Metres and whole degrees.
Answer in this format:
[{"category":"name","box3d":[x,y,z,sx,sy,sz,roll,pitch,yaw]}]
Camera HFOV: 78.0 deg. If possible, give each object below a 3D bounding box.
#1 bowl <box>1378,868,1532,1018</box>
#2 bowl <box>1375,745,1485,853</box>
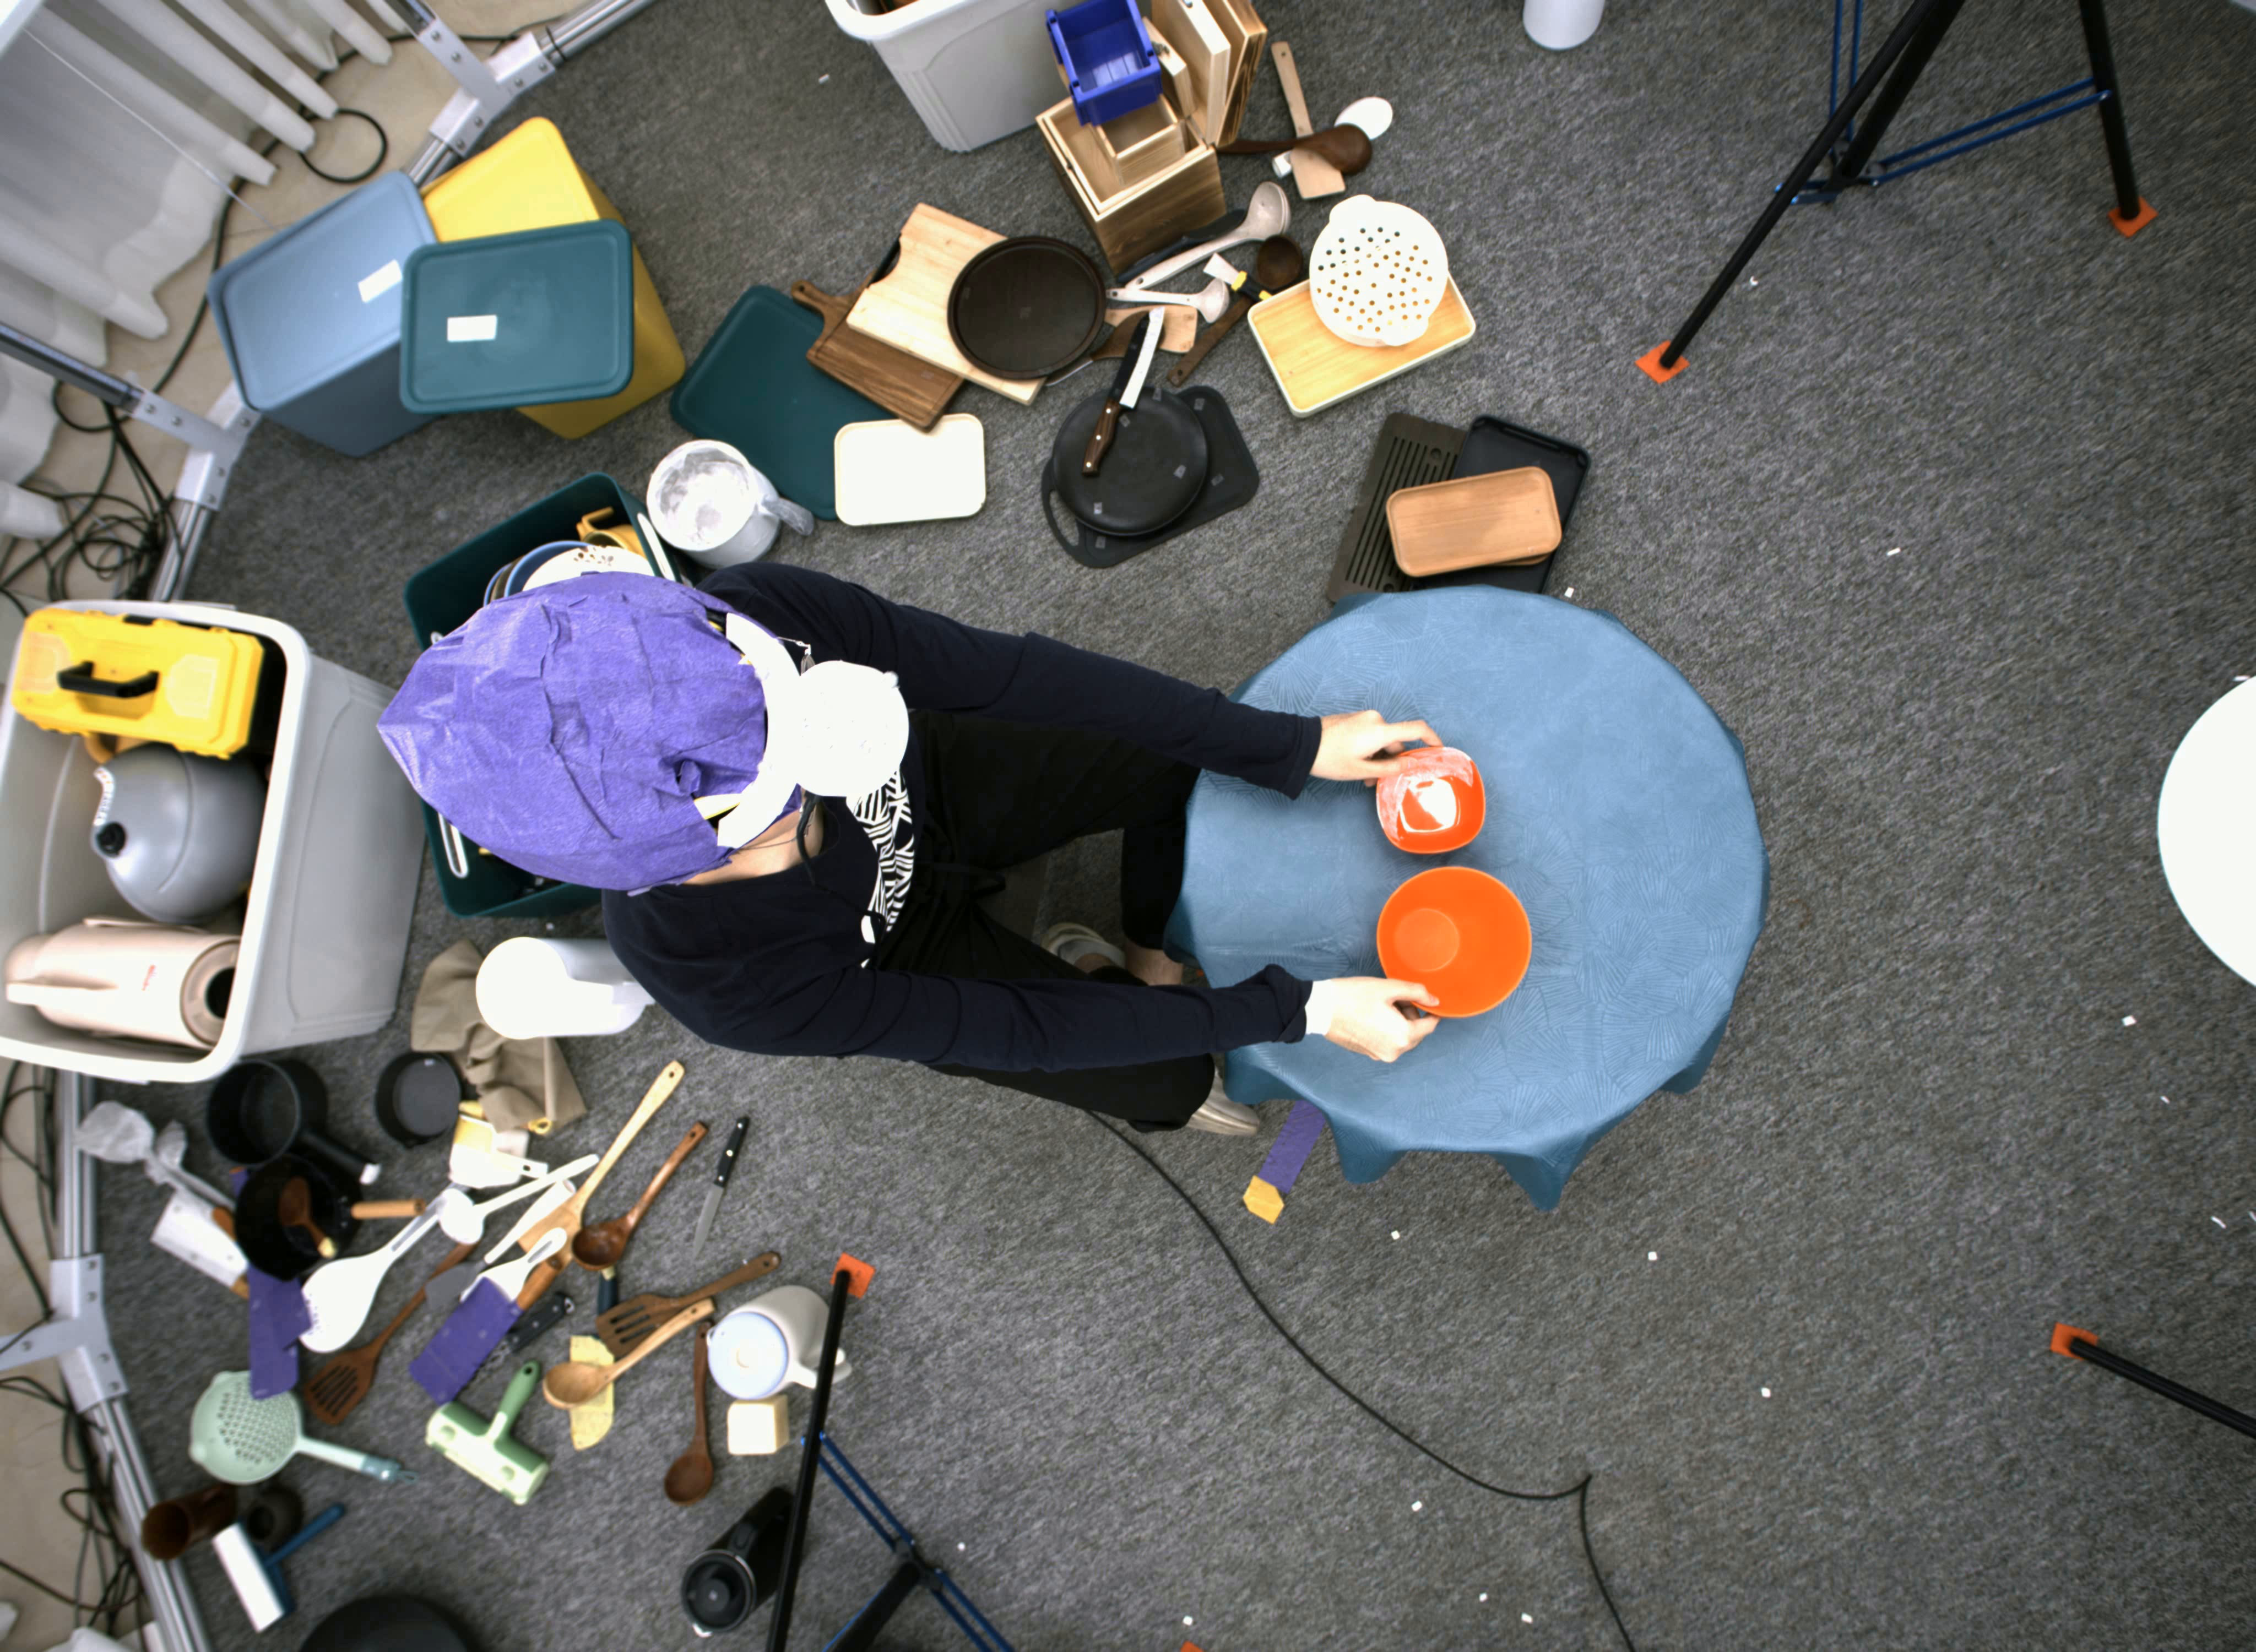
[{"category":"bowl","box3d":[0.322,0.116,1.395,0.148,0.105,0.147,0,88,2]},{"category":"bowl","box3d":[0.313,-0.027,1.431,0.119,0.051,0.118,-1,88,10]}]
